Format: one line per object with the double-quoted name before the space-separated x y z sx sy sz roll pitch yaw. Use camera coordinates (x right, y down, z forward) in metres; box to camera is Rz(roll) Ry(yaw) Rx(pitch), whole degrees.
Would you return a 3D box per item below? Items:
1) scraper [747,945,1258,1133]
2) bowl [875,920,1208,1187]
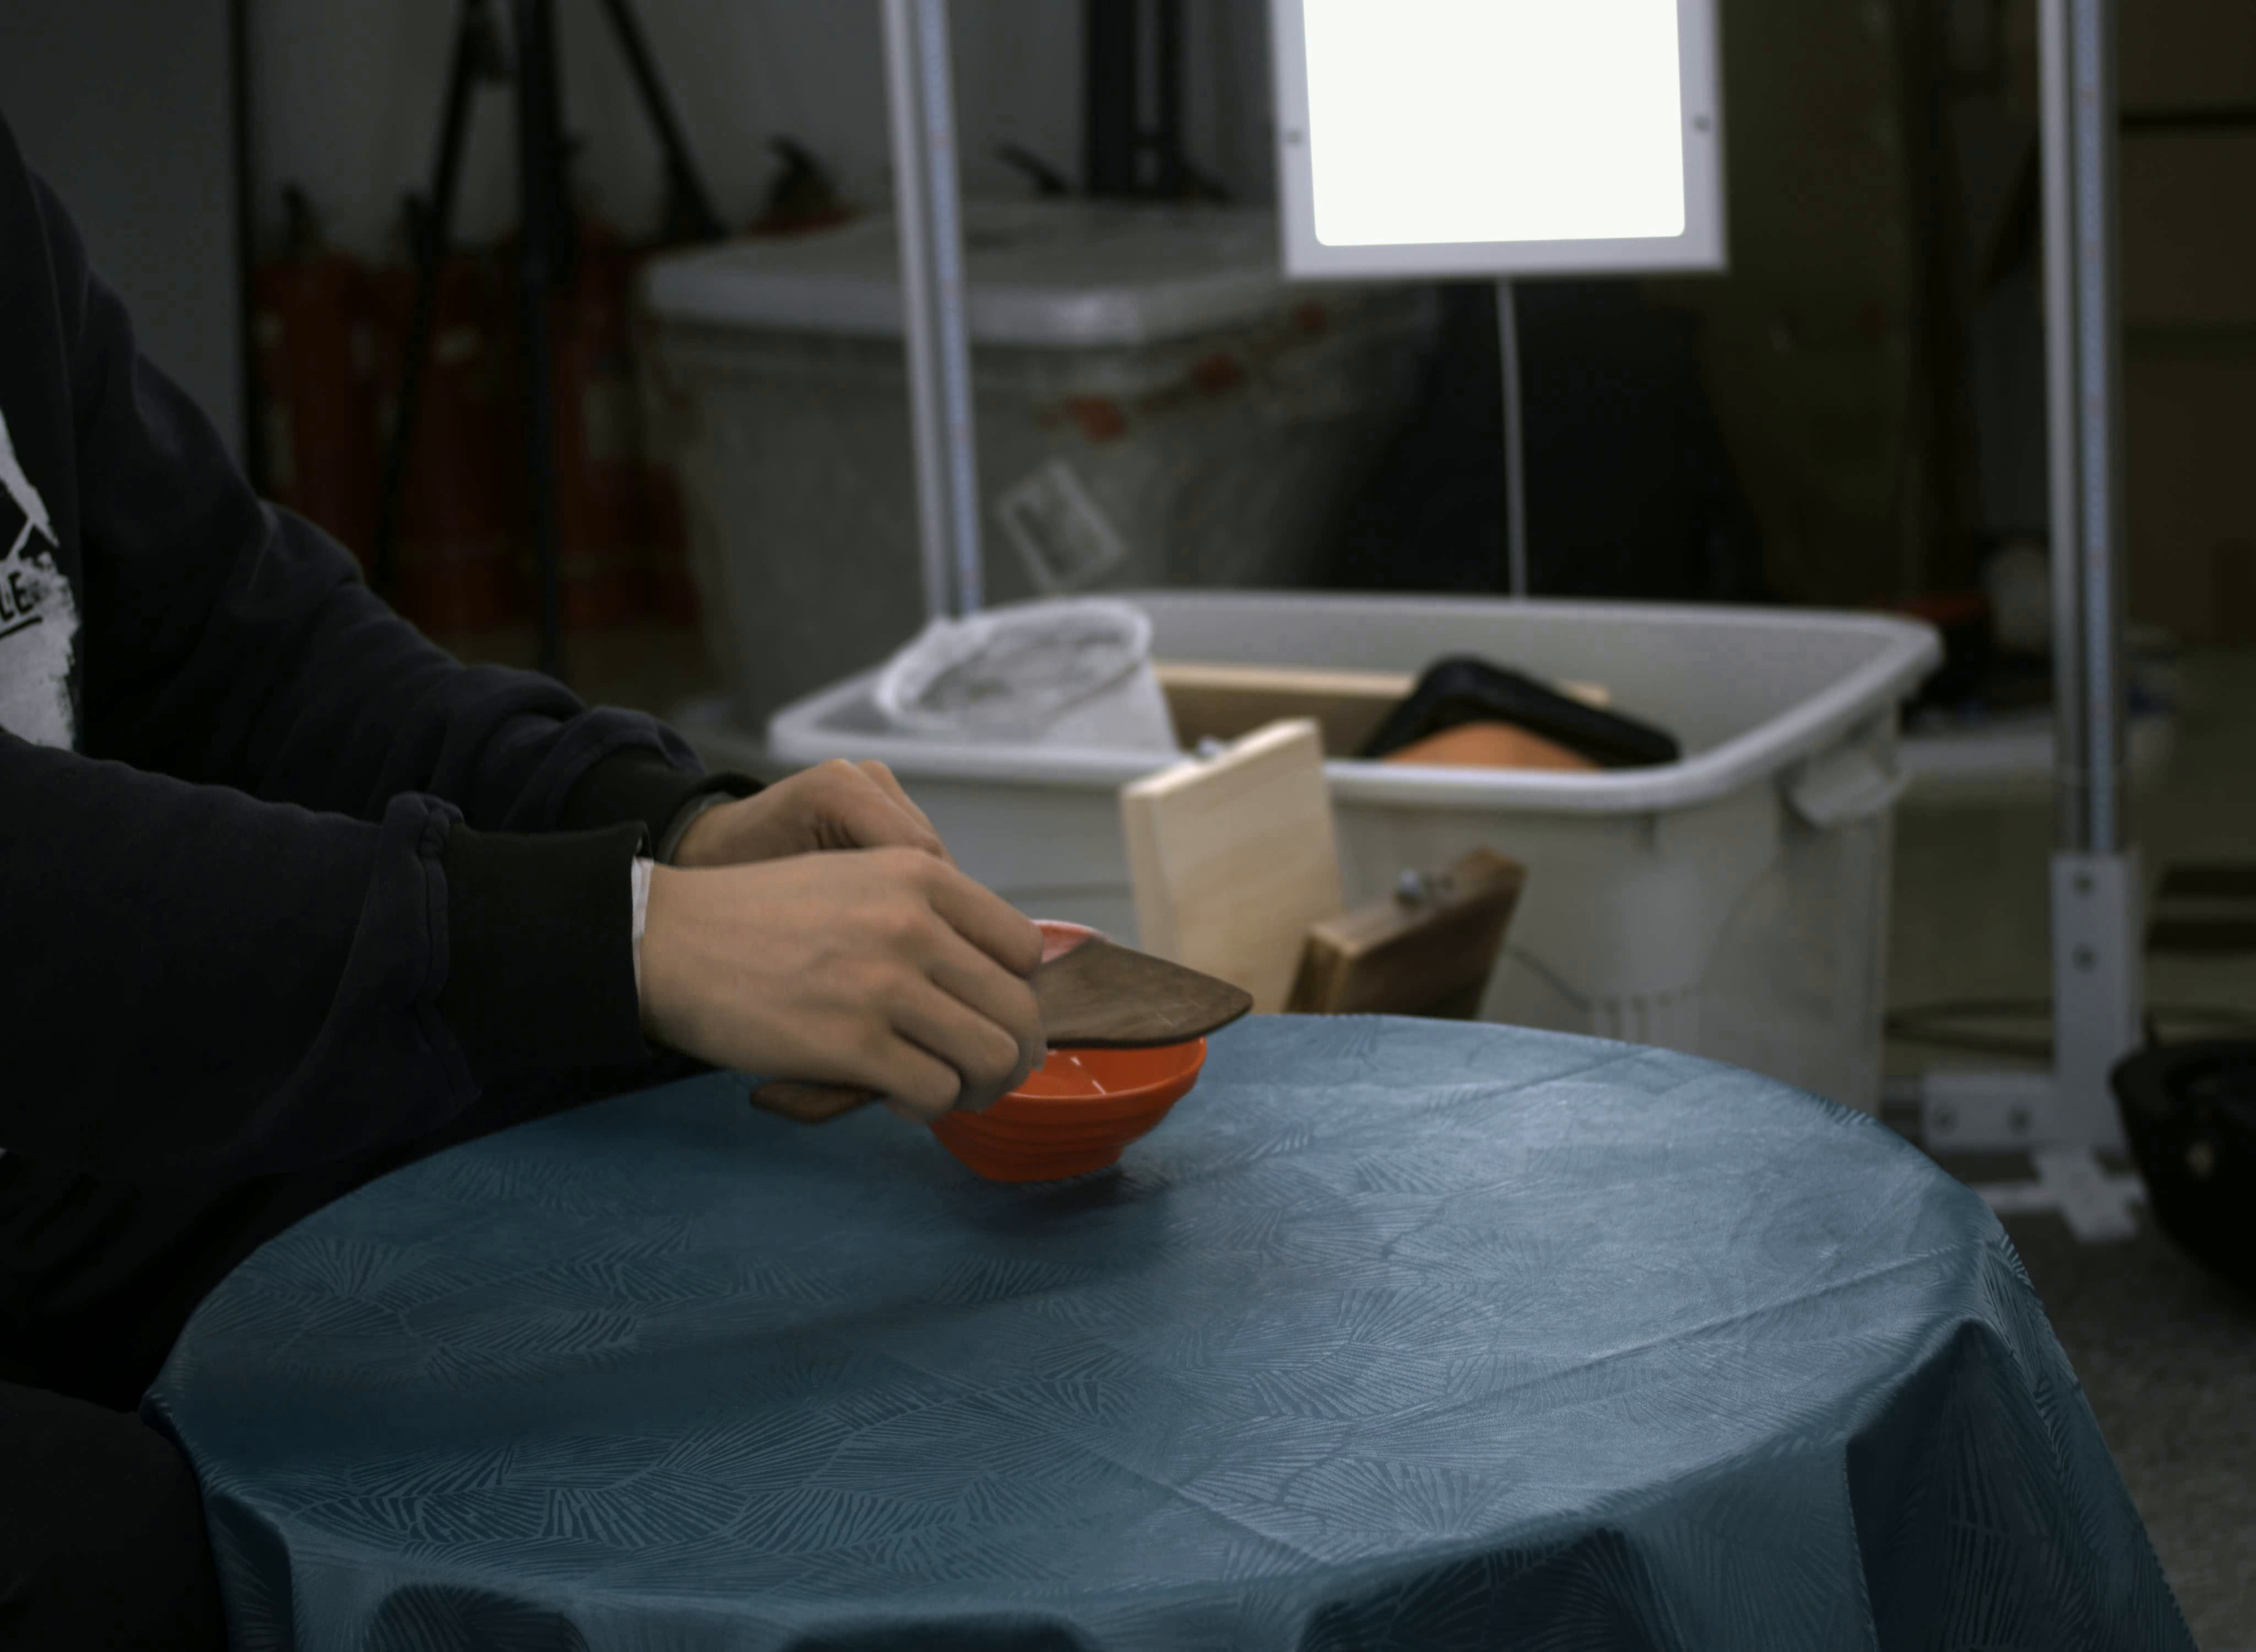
"scraper" -0.045 0.071 1.778 0.077 0.011 0.206 19 23 36
"bowl" -0.034 0.085 1.928 0.118 0.052 0.118 8 32 -6
